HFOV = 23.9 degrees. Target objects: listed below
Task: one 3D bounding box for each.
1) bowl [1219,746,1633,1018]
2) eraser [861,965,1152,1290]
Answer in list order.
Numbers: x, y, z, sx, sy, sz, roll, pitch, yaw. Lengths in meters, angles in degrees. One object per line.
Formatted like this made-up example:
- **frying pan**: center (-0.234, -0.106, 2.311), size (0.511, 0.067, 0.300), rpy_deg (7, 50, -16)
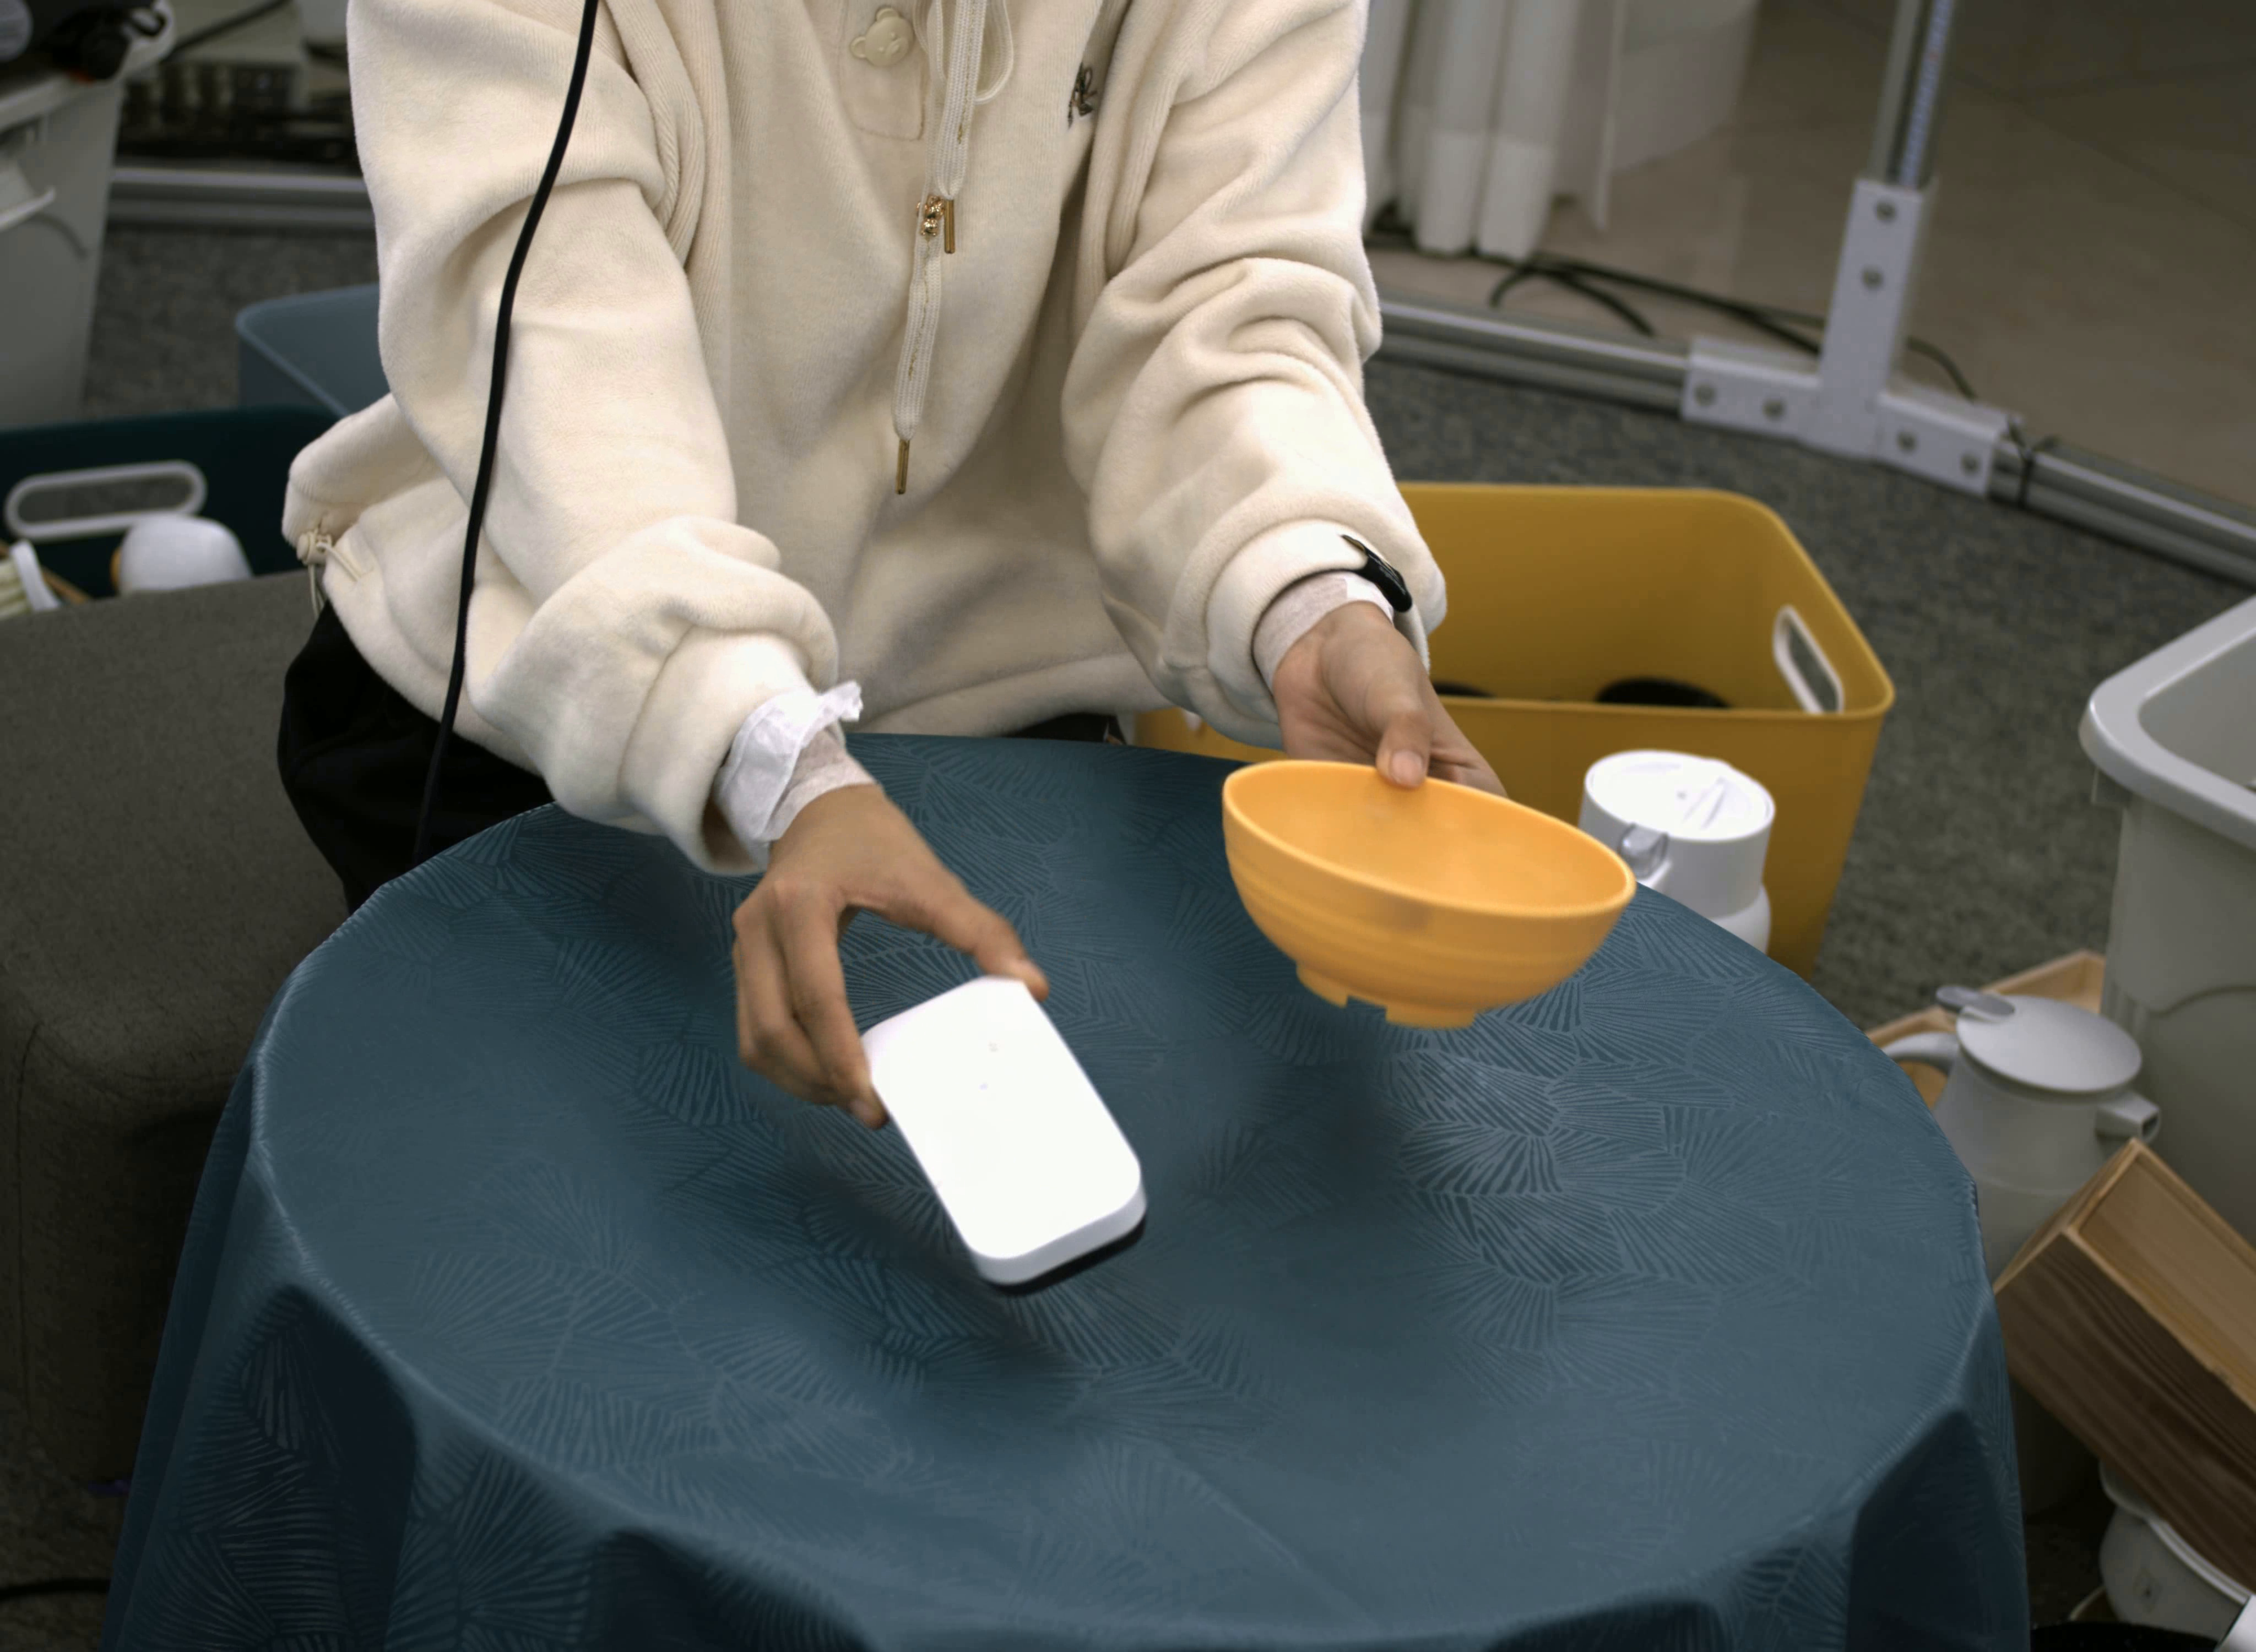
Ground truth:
- **bowl**: center (0.095, 0.026, 1.808), size (0.145, 0.060, 0.146), rpy_deg (11, 18, -4)
- **eraser**: center (-0.038, 0.094, 1.717), size (0.063, 0.034, 0.132), rpy_deg (-26, 39, -7)
